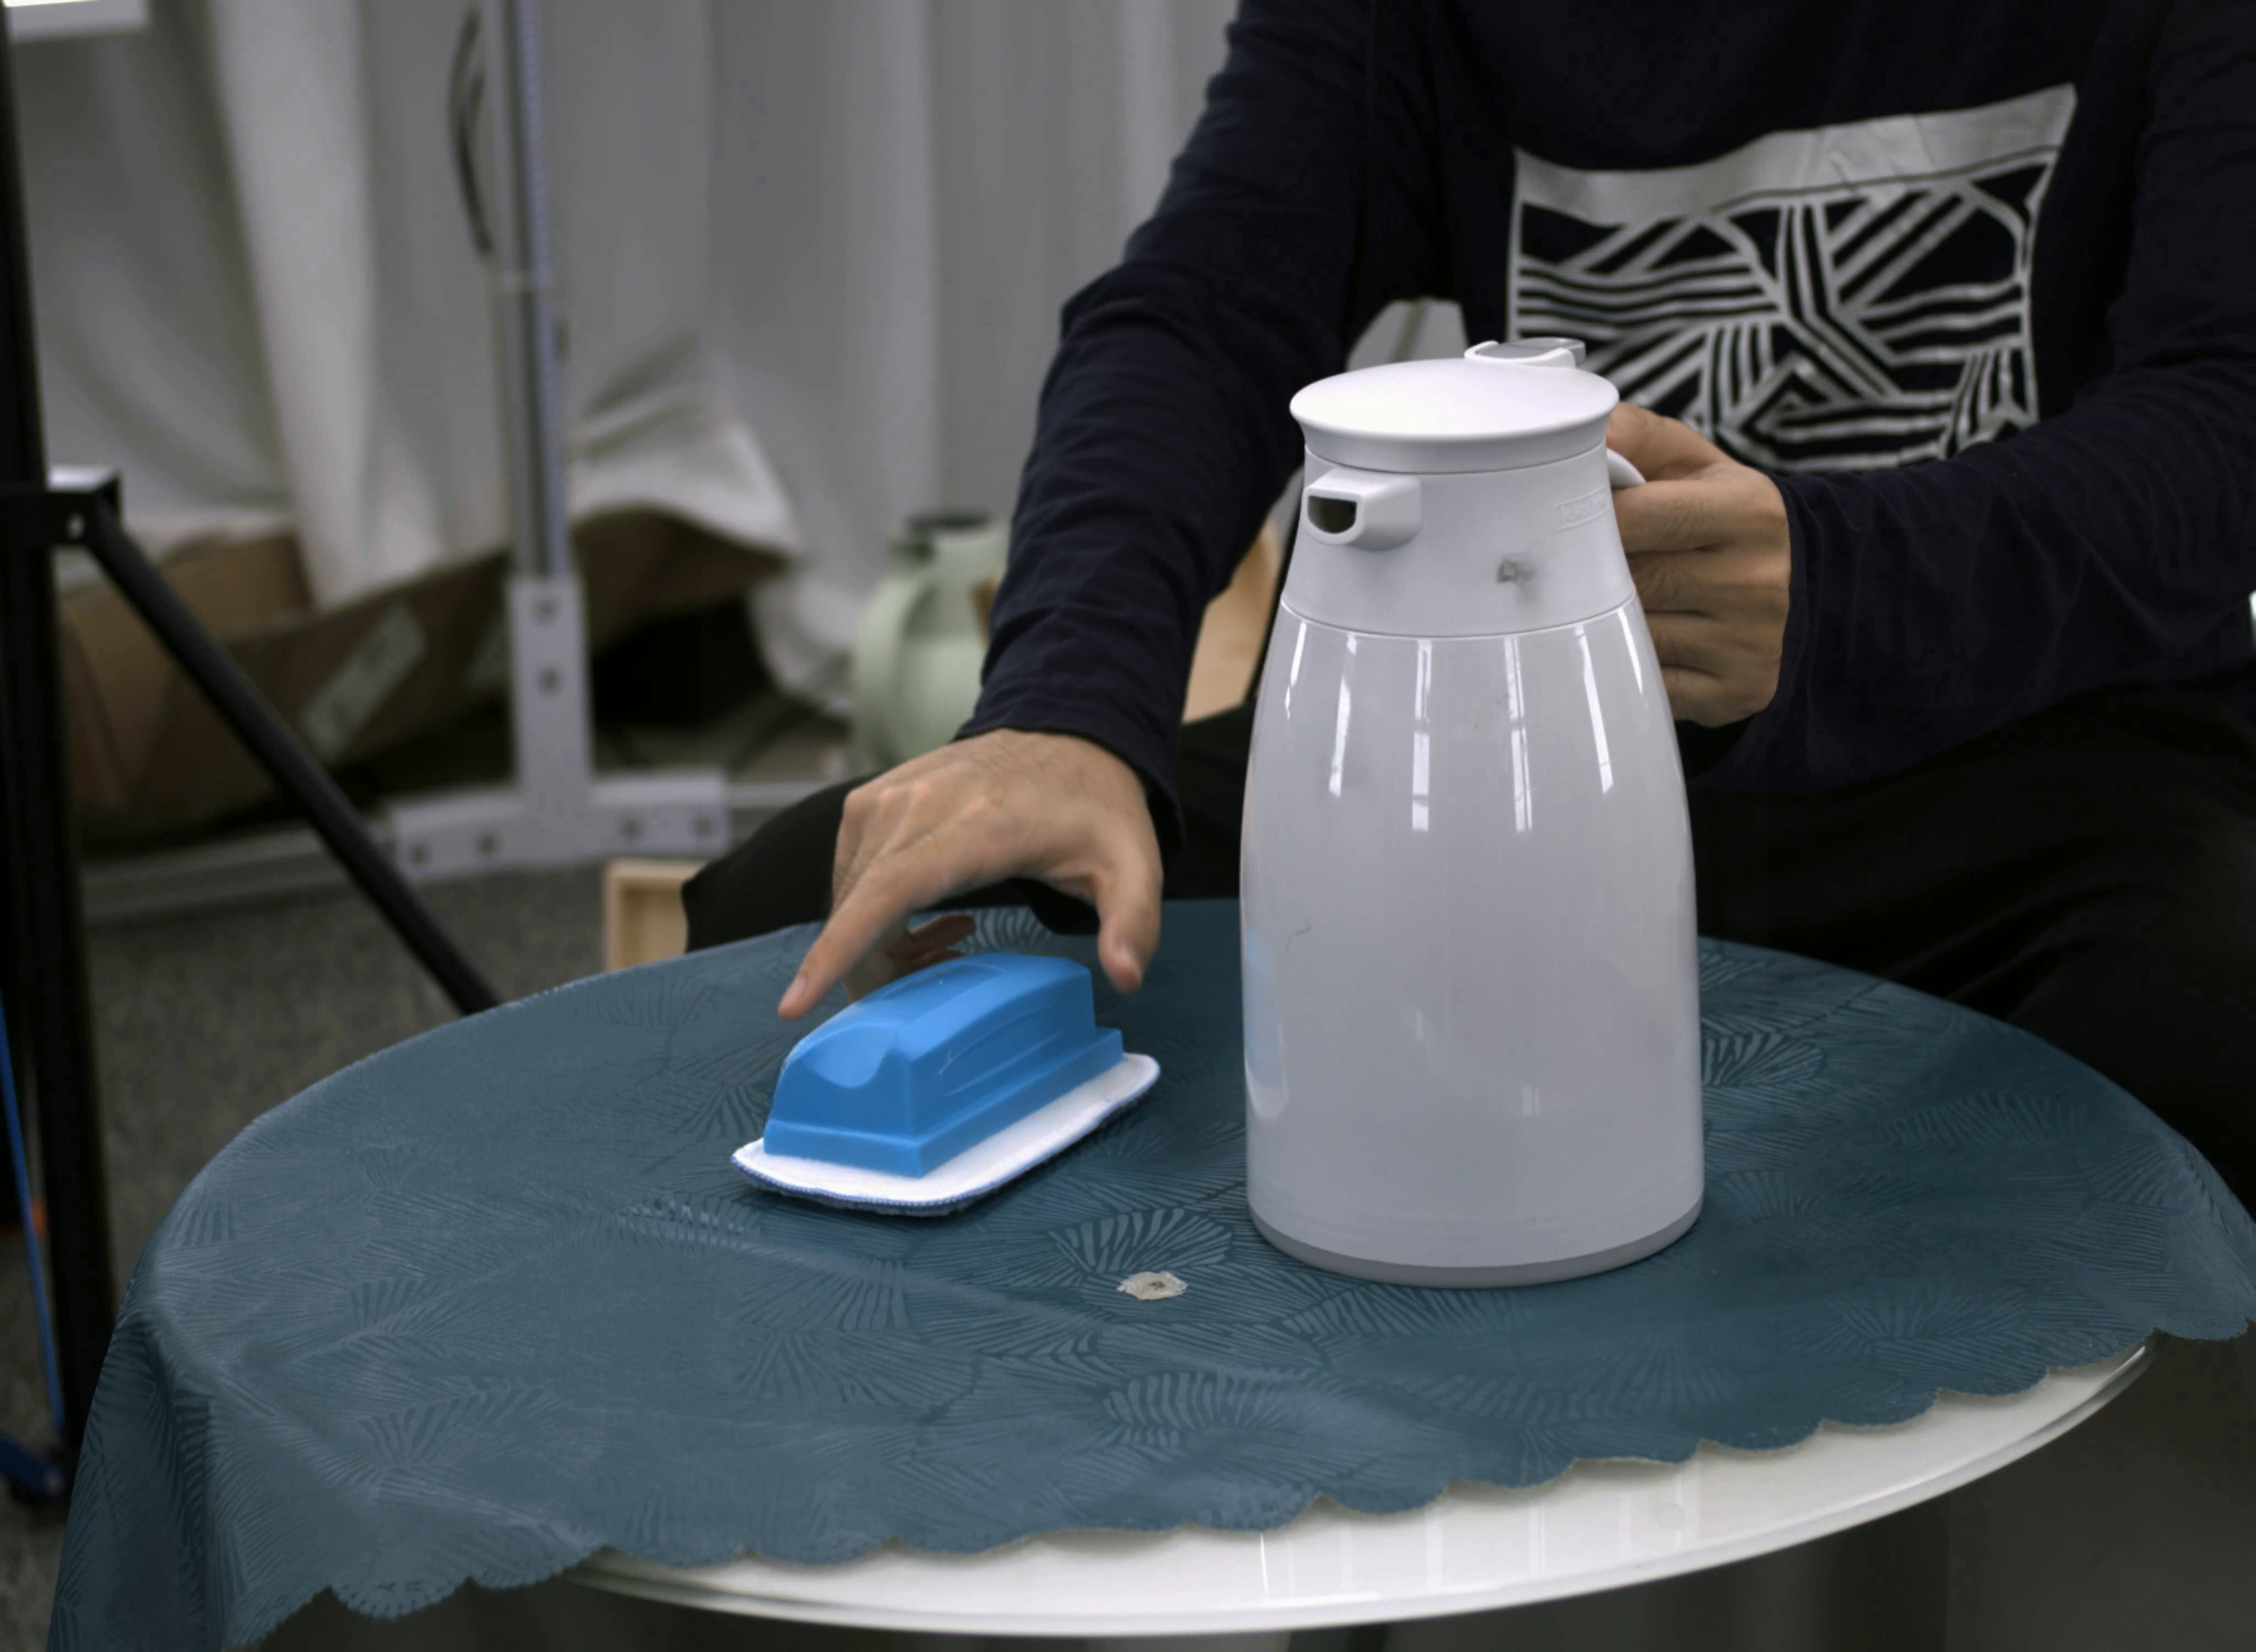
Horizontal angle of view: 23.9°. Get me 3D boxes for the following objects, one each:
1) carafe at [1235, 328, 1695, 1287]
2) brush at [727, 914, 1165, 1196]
[{"bbox_3d":[0.104,-0.013,1.513,0.135,0.248,0.164,8,18,33],"label":"carafe"},{"bbox_3d":[-0.053,0.065,1.610,0.085,0.056,0.141,11,22,31],"label":"brush"}]
